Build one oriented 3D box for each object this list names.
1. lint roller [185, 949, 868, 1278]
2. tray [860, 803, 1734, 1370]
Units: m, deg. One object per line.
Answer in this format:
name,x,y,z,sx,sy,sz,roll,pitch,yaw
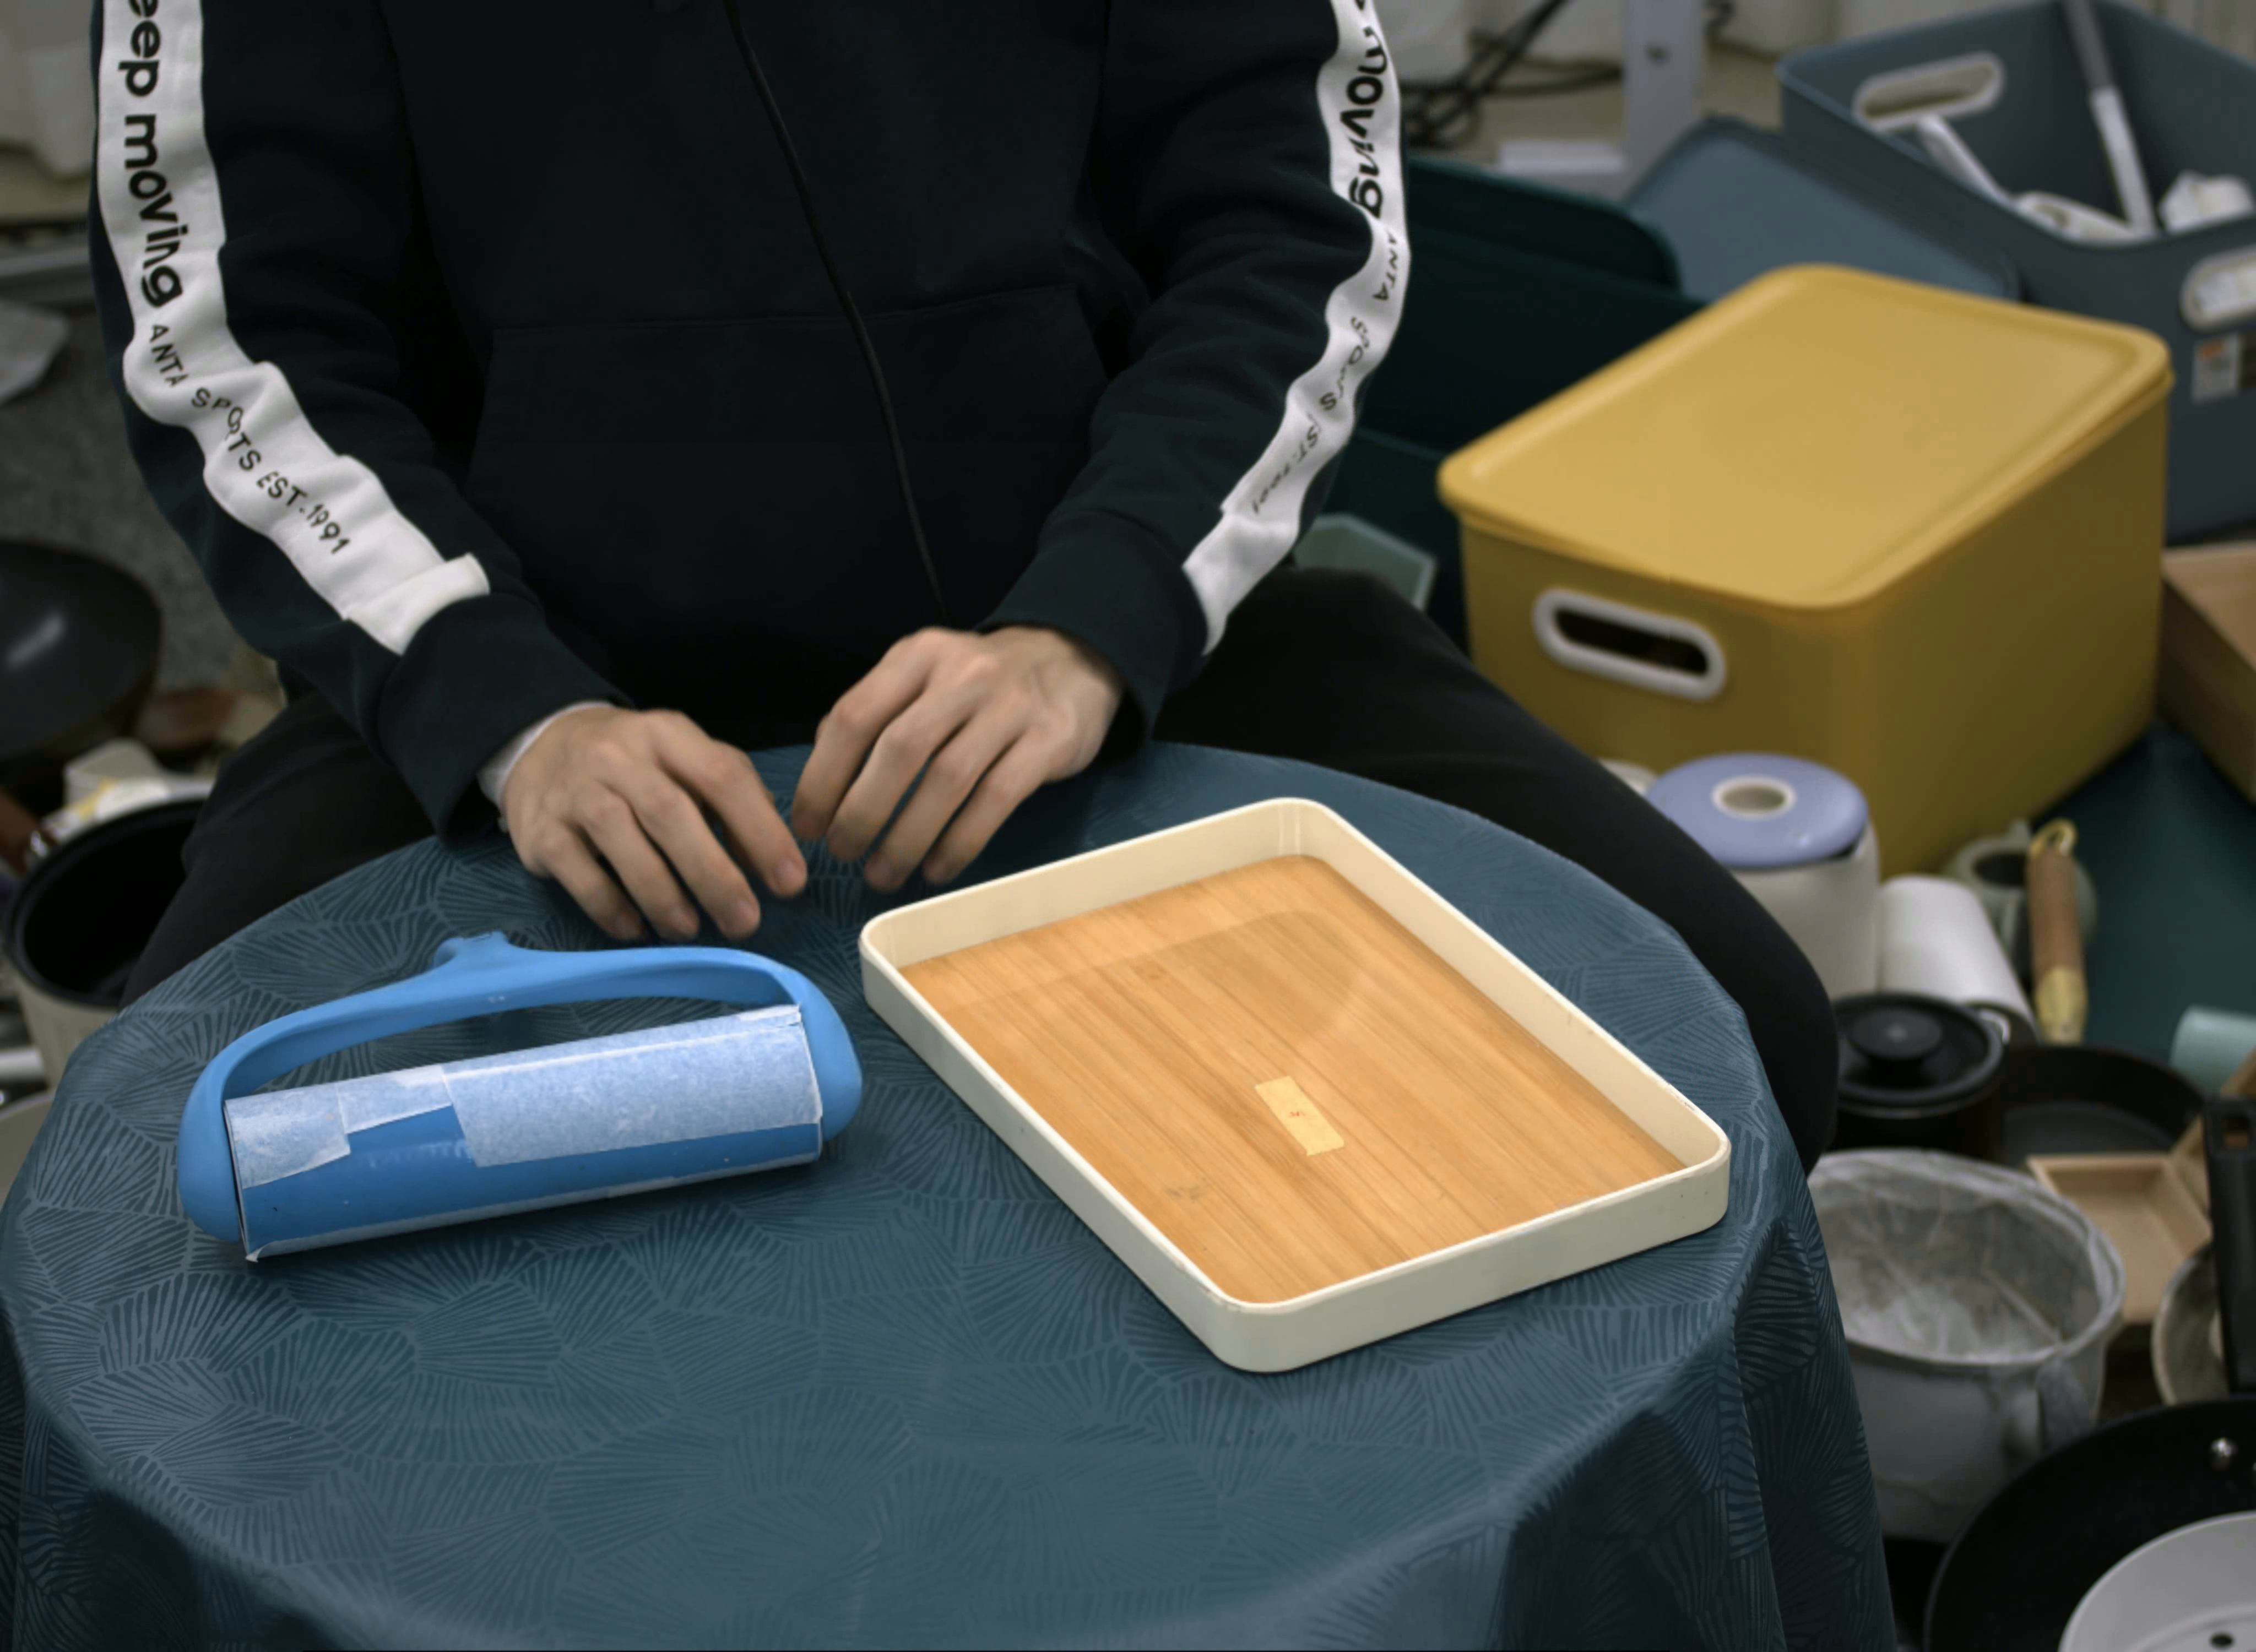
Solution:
lint roller,-0.216,0.077,1.908,0.229,0.067,0.182,-13,30,-15
tray,0.051,0.082,1.903,0.192,0.027,0.302,-15,30,-23
